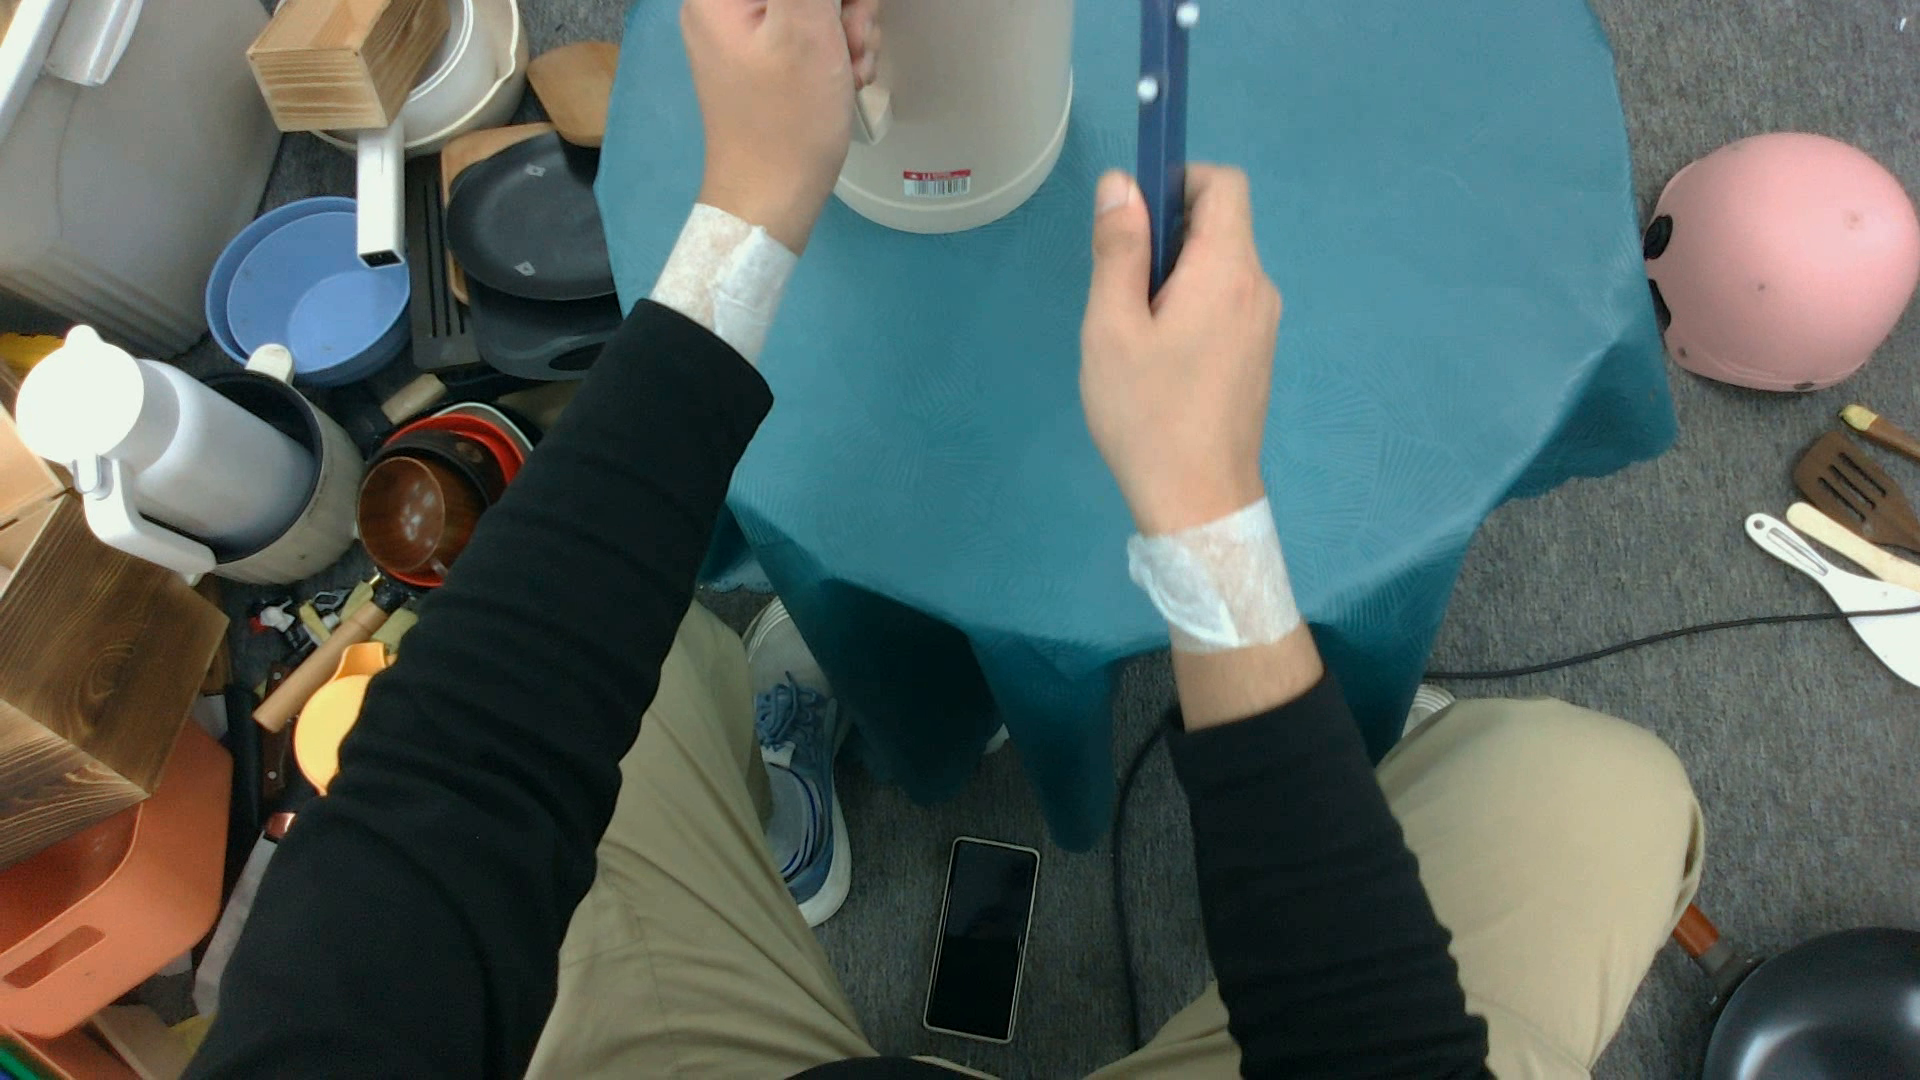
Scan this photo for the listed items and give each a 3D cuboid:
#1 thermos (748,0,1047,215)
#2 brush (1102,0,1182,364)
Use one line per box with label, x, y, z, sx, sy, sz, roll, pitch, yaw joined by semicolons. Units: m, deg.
thermos;-0.038;-0.296;0.618;0.175;0.405;0.207;18;77;4
brush;0.078;-0.204;0.504;0.095;0.033;0.273;-1;102;29
